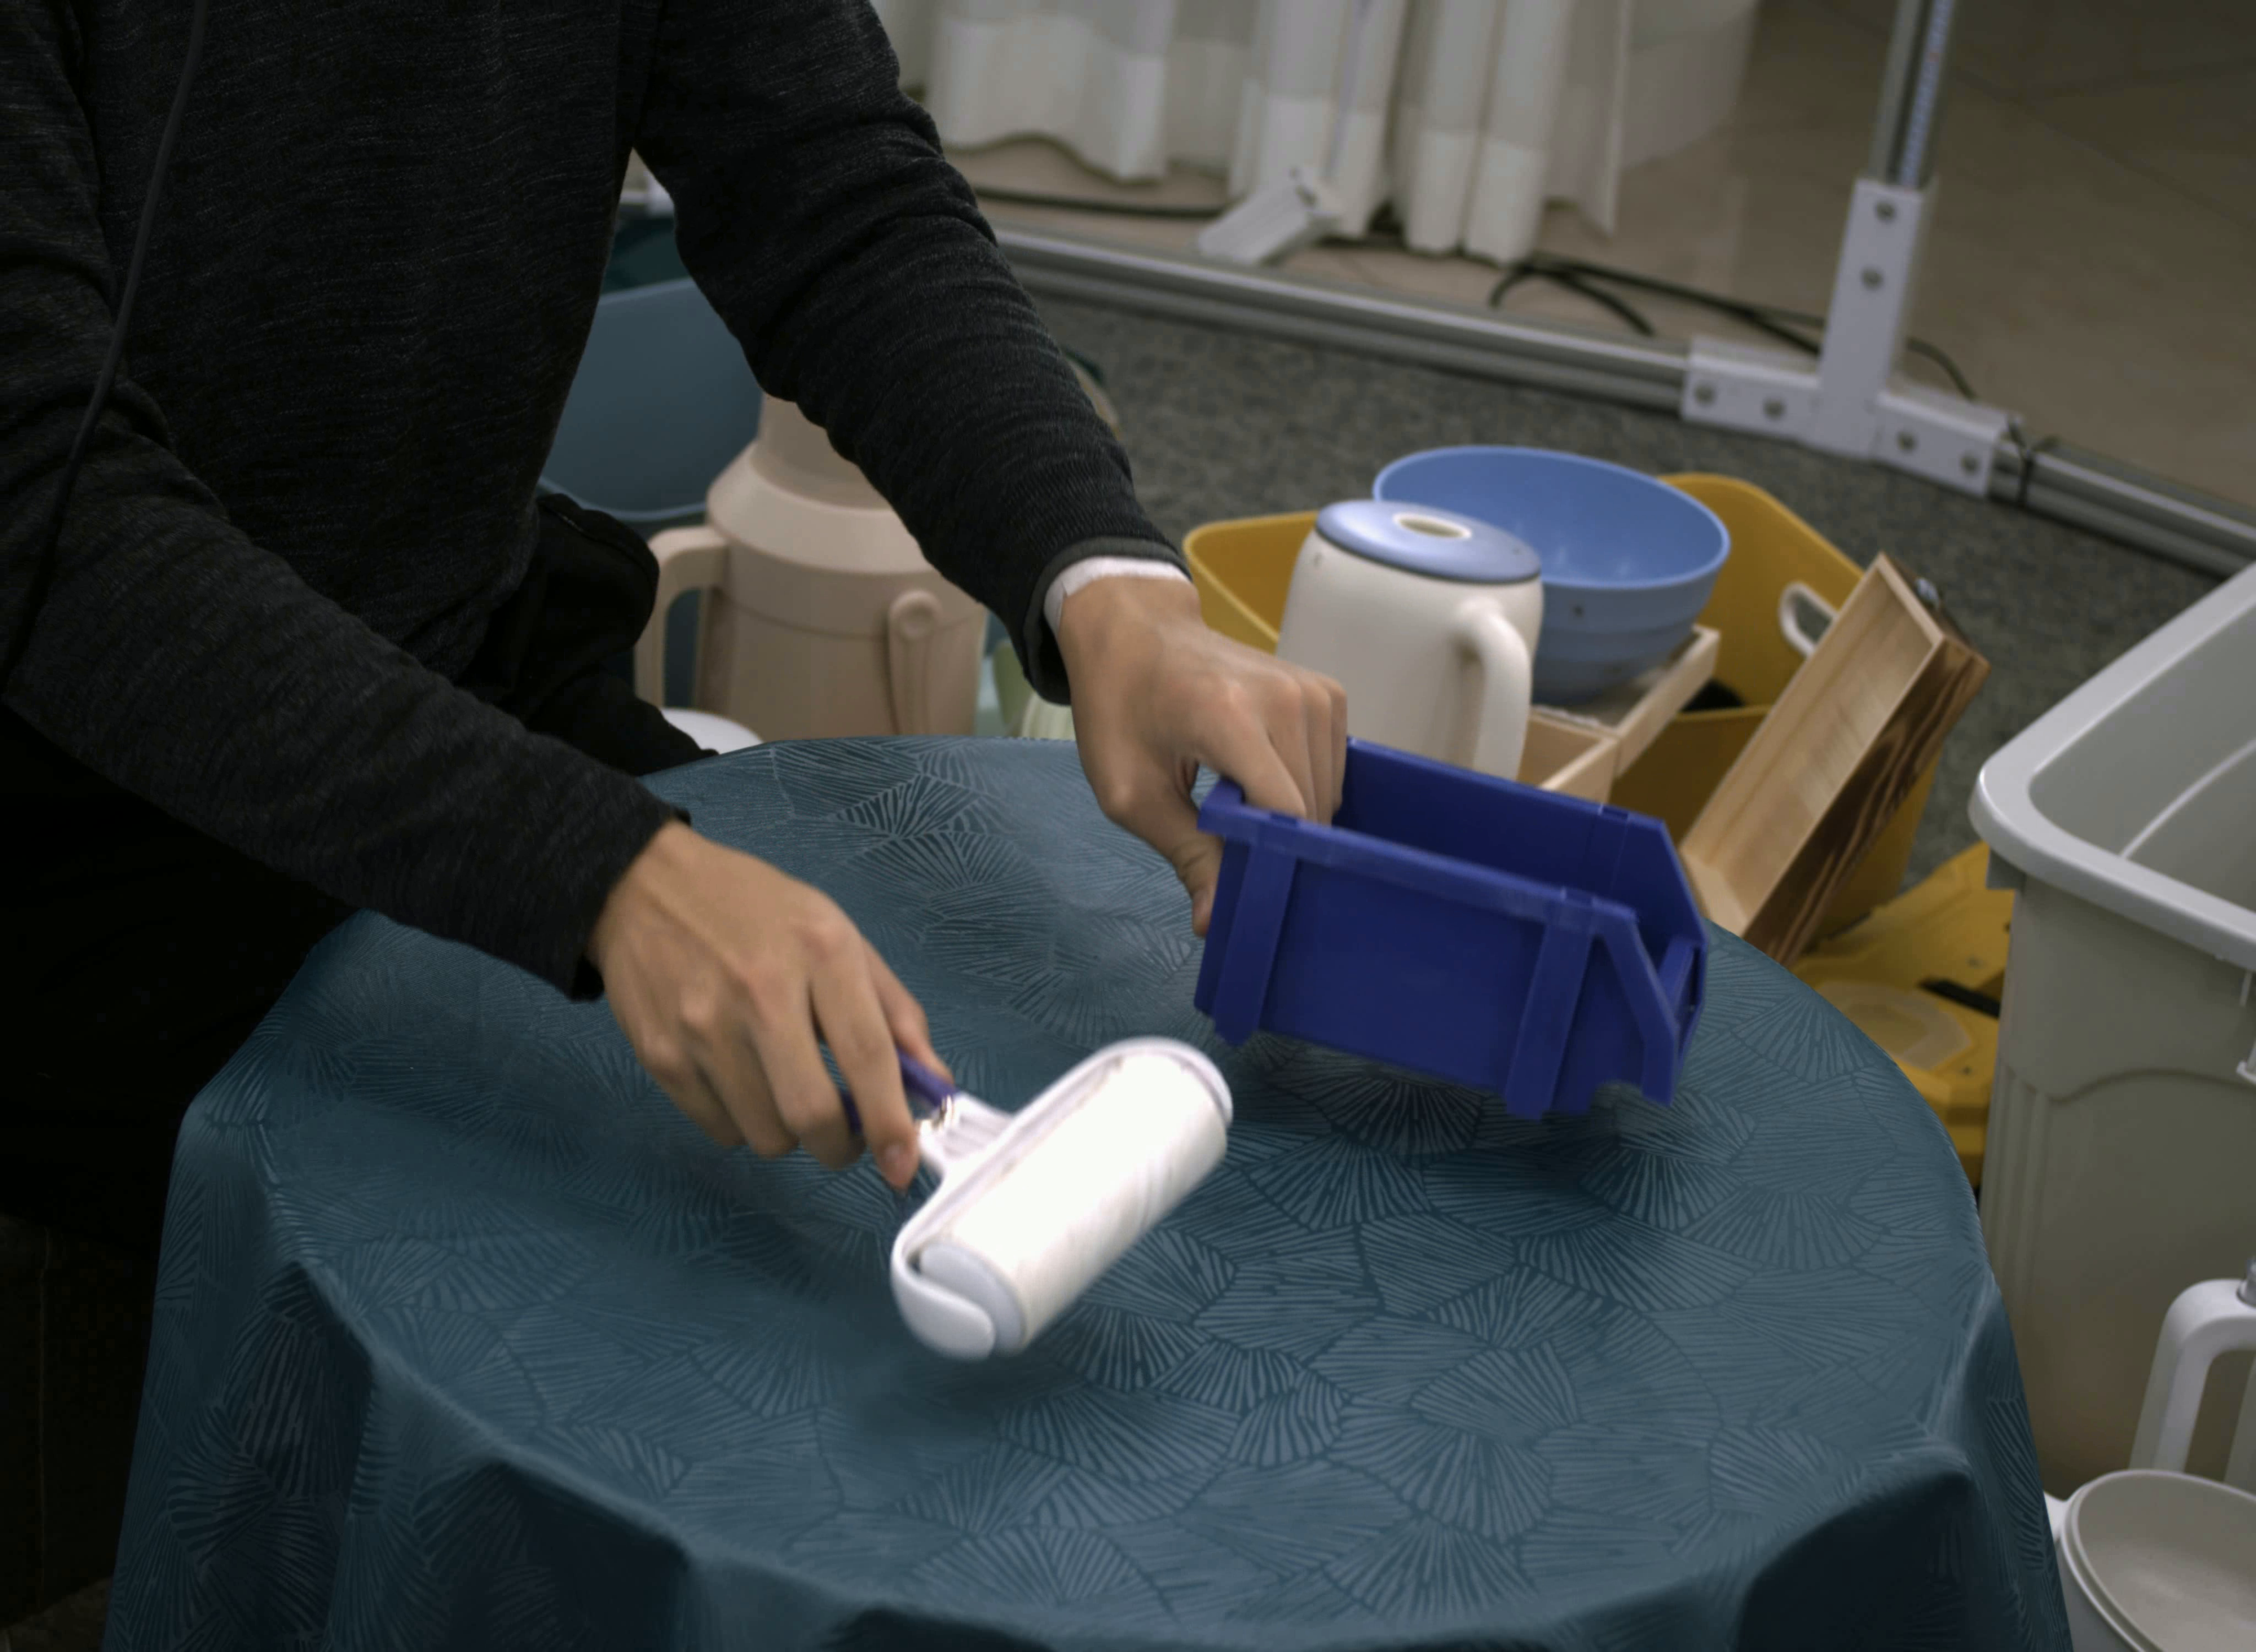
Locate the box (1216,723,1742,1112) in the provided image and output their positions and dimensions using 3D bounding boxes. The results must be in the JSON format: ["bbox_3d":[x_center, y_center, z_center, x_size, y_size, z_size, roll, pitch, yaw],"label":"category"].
[{"bbox_3d":[0.124,0.034,1.858,0.179,0.082,0.124,13,17,11],"label":"box"}]

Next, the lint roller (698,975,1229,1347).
[{"bbox_3d":[-0.067,0.083,1.711,0.182,0.050,0.133,33,55,26],"label":"lint roller"}]
